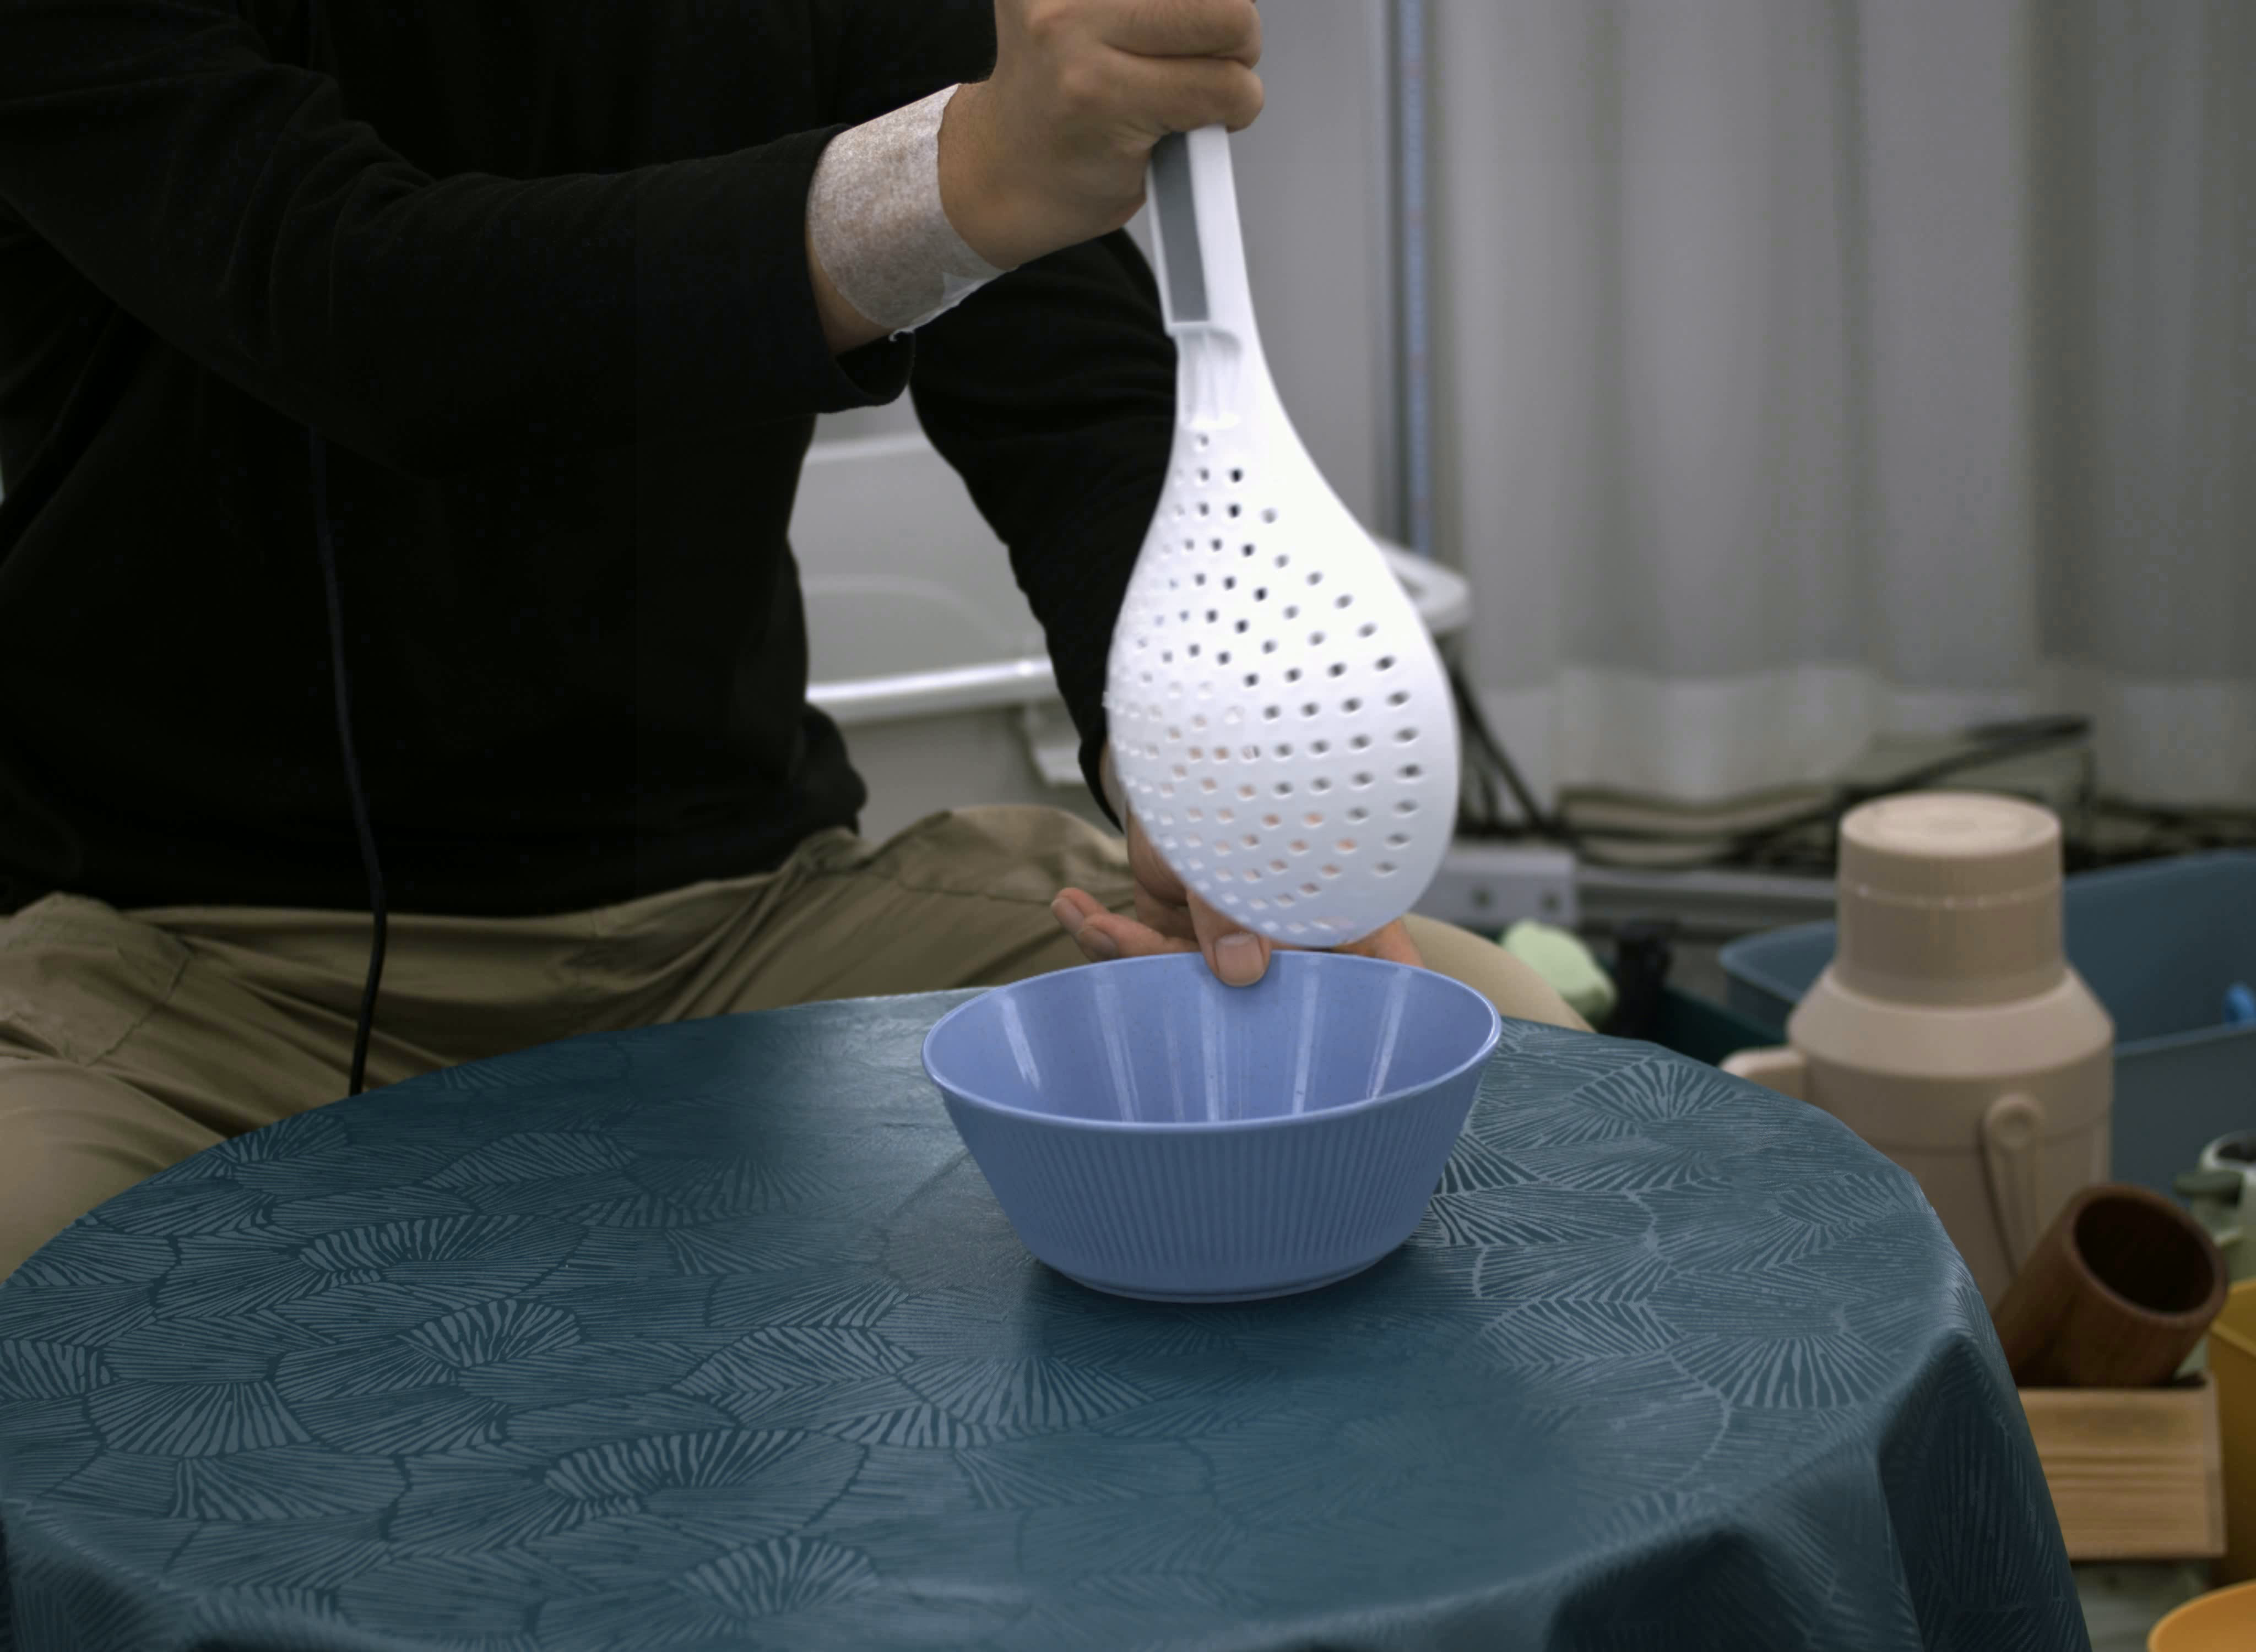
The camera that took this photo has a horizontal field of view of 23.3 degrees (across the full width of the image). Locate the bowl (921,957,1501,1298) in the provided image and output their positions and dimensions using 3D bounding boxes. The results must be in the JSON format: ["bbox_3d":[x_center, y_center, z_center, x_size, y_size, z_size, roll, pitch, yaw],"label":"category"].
[{"bbox_3d":[0.026,0.093,1.654,0.175,0.070,0.177,-3,14,0],"label":"bowl"}]

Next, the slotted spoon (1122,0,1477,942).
[{"bbox_3d":[0.029,-0.135,1.614,0.136,0.350,0.045,0,8,43],"label":"slotted spoon"}]
